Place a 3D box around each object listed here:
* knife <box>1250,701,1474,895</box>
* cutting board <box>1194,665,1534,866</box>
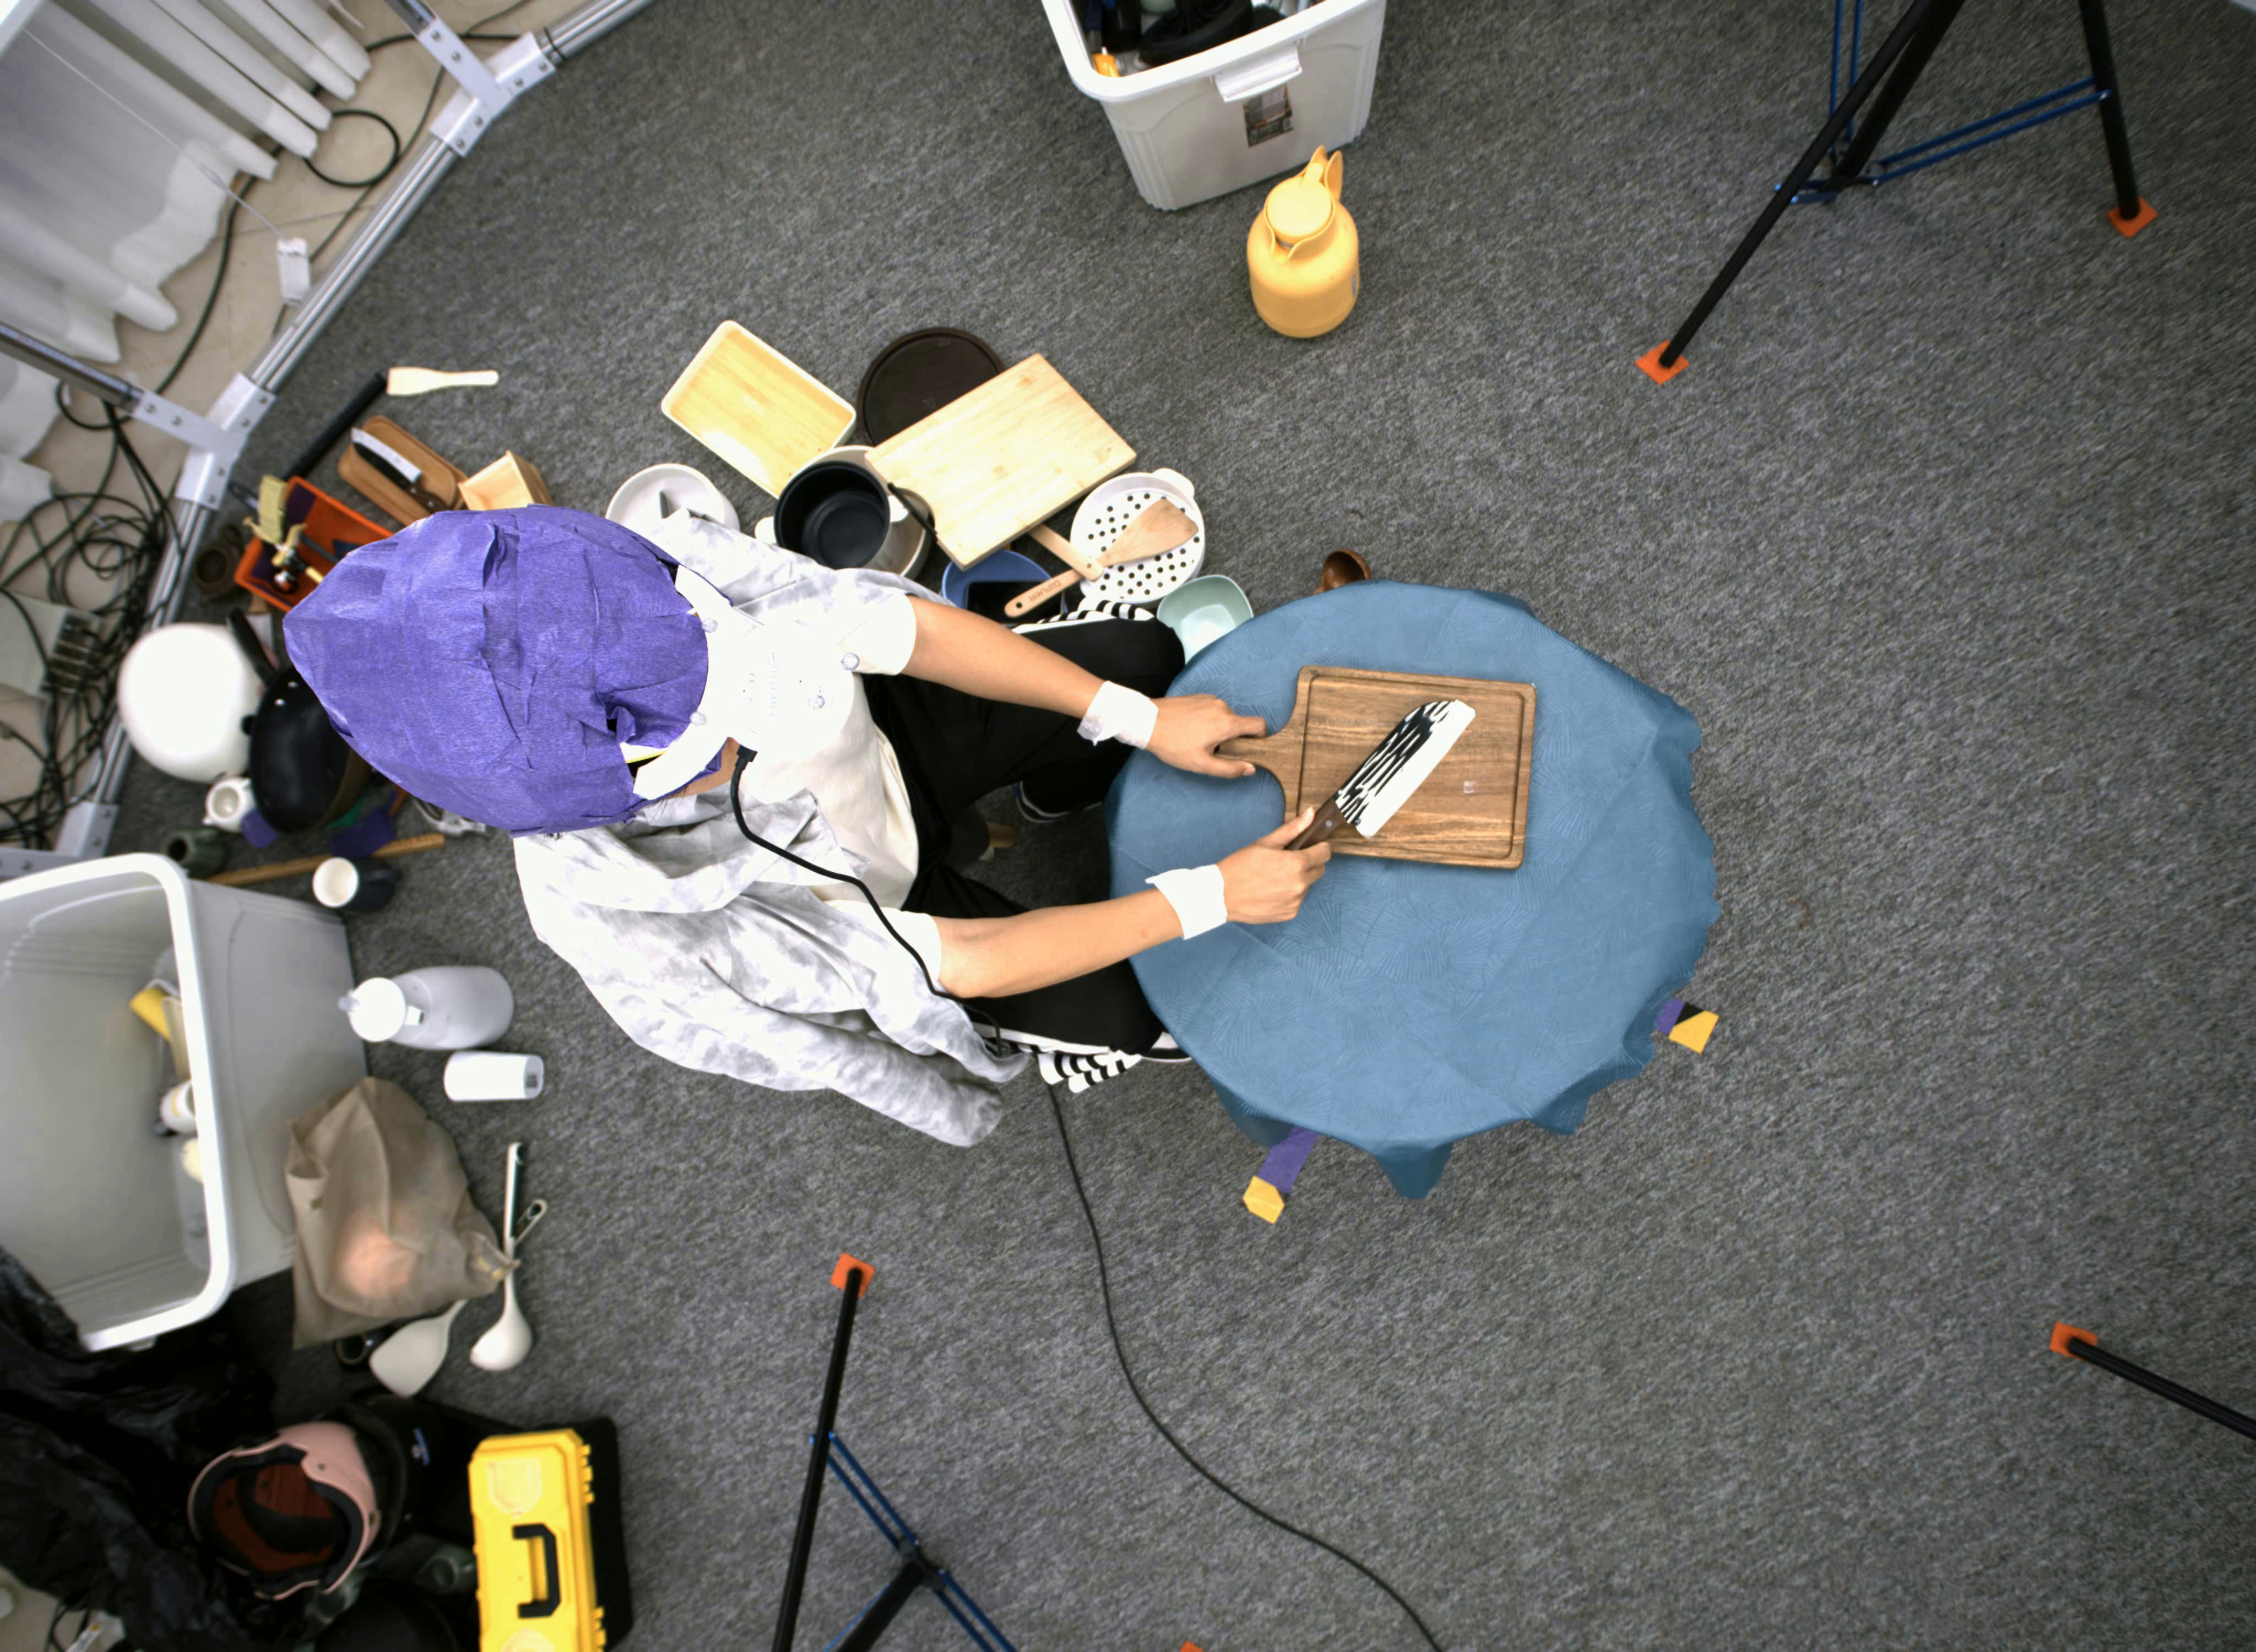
[{"bbox_3d":[0.244,-0.027,1.421,0.299,0.024,0.069,-46,115,-1],"label":"knife"},{"bbox_3d":[0.245,-0.070,1.452,0.353,0.023,0.200,5,88,9],"label":"cutting board"}]
